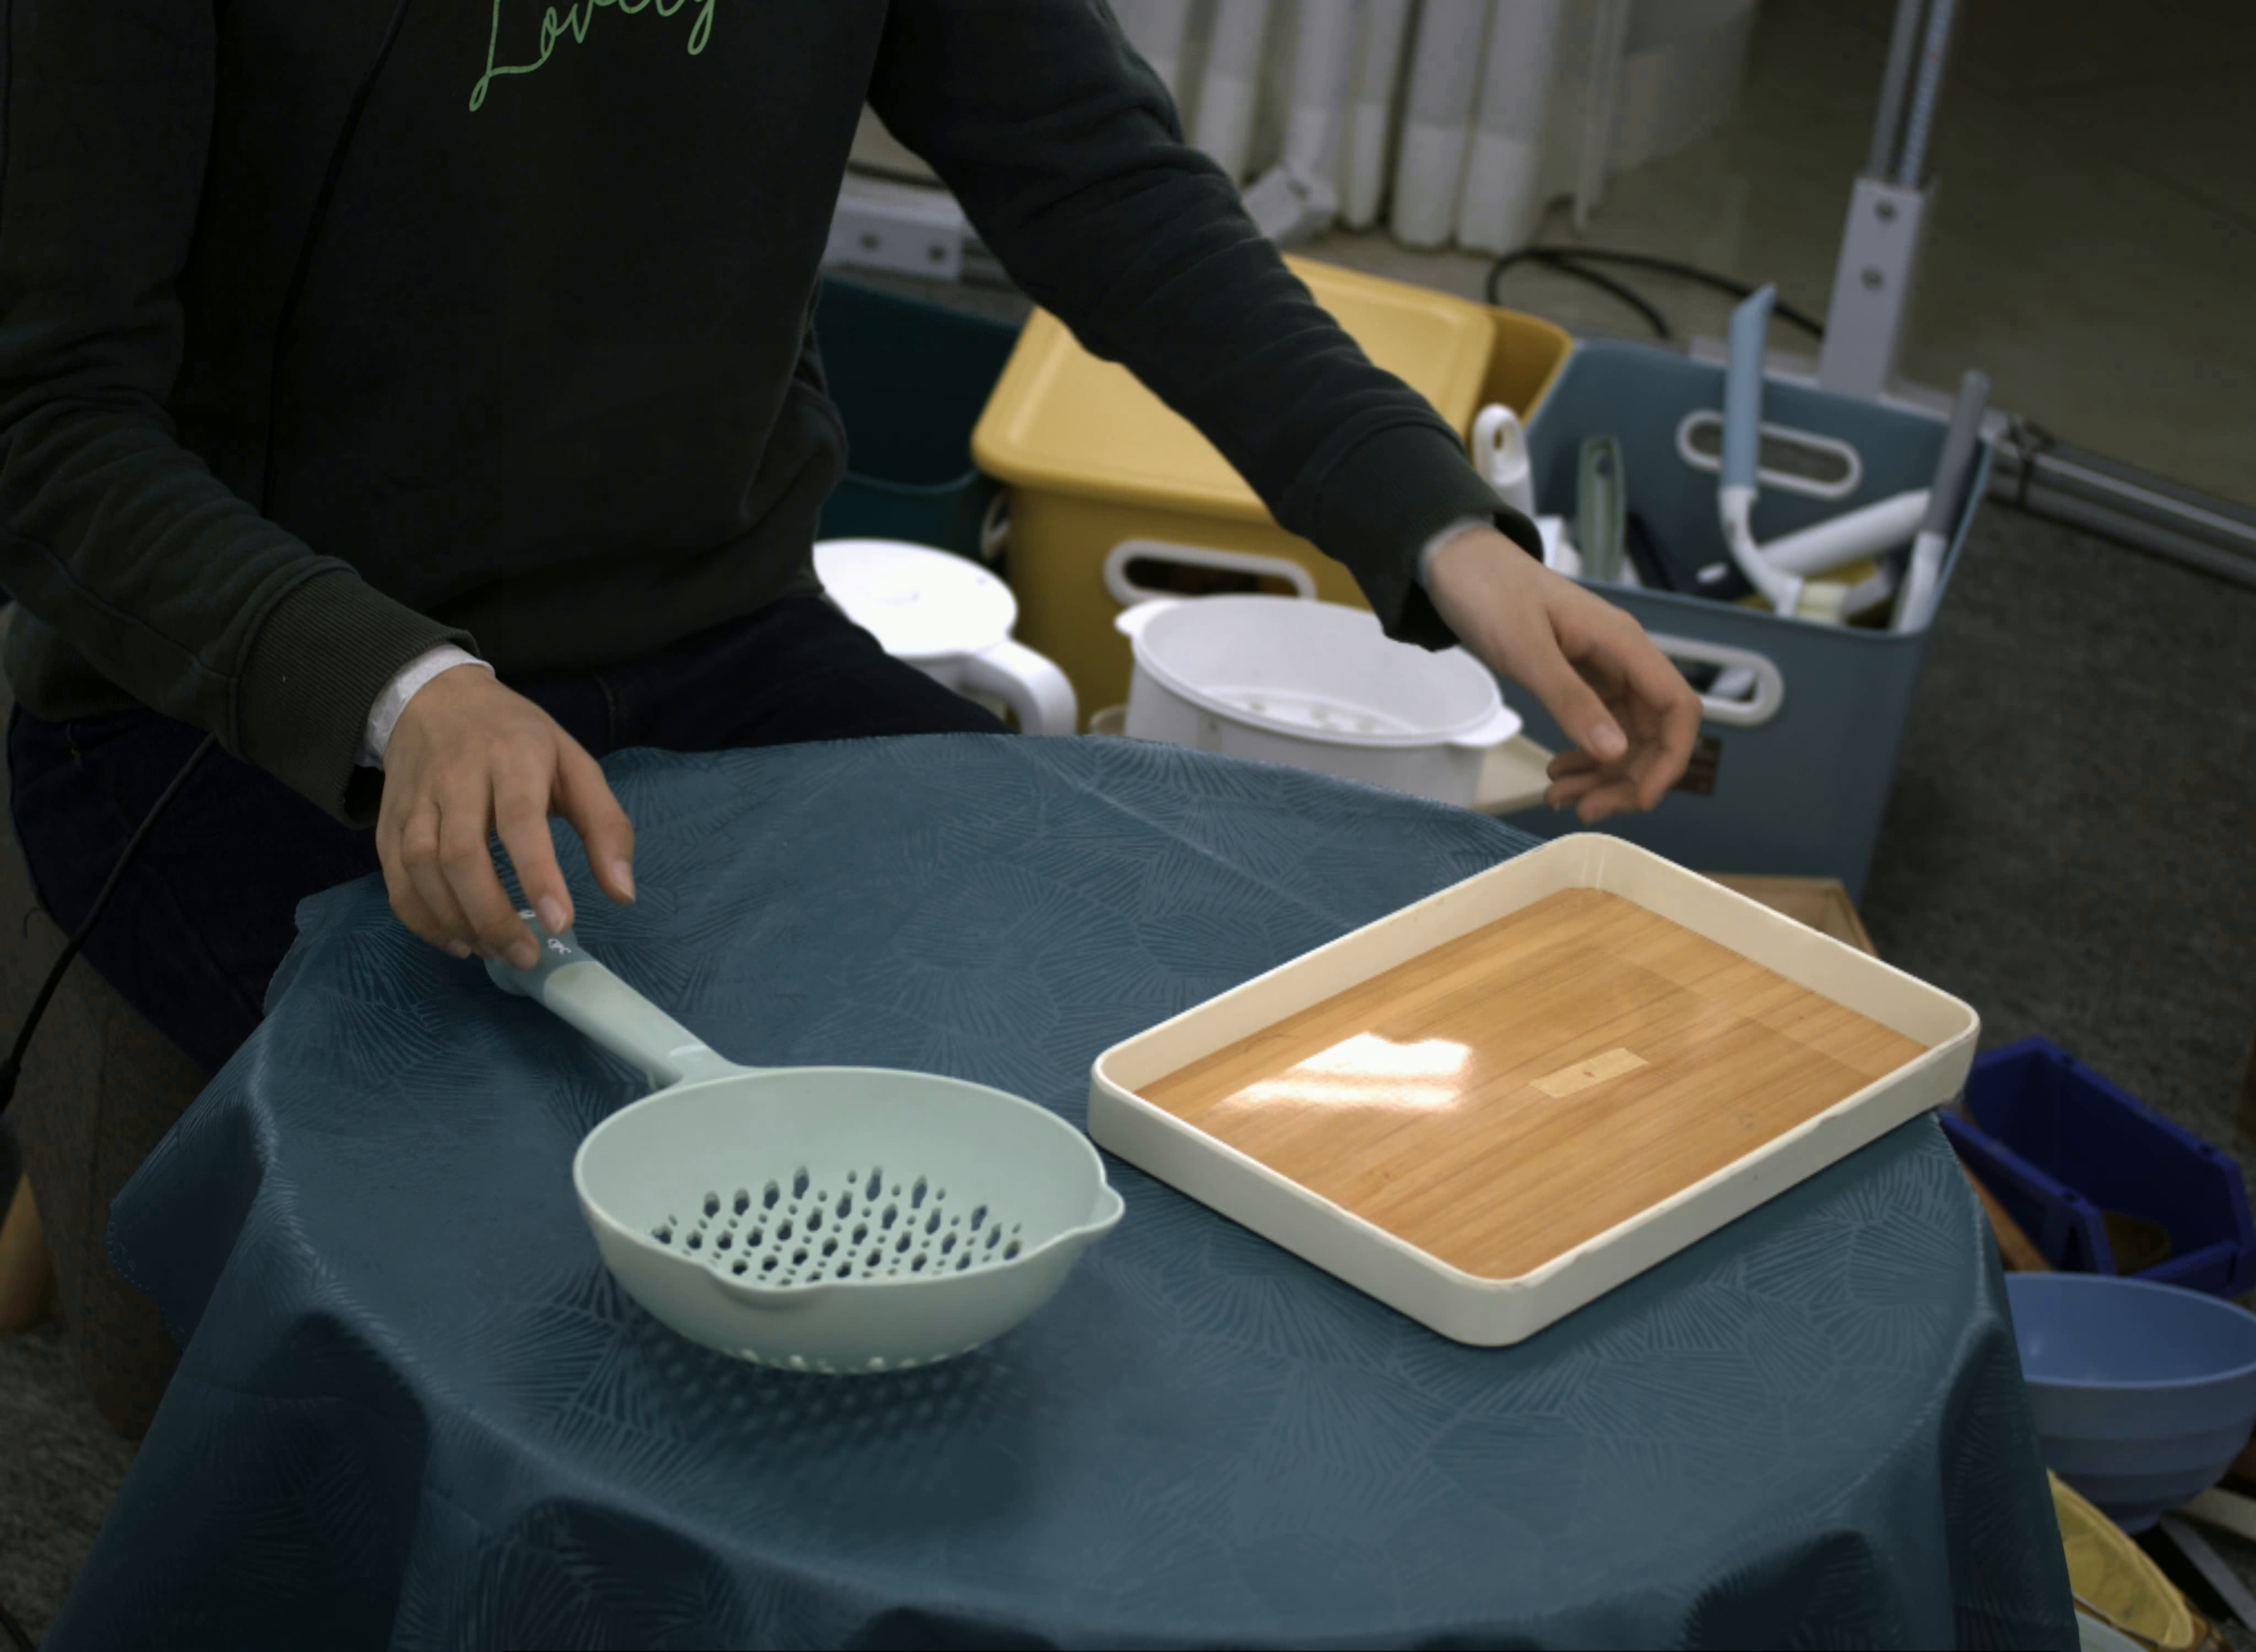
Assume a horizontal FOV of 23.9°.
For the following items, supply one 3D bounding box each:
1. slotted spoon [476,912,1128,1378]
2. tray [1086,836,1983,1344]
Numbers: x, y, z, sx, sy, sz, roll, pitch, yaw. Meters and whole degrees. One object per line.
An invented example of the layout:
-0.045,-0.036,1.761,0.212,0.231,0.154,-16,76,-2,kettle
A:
-0.140,0.090,1.764,0.168,0.075,0.362,-9,30,-29,slotted spoon
0.146,0.087,1.876,0.193,0.027,0.299,27,33,34,tray
